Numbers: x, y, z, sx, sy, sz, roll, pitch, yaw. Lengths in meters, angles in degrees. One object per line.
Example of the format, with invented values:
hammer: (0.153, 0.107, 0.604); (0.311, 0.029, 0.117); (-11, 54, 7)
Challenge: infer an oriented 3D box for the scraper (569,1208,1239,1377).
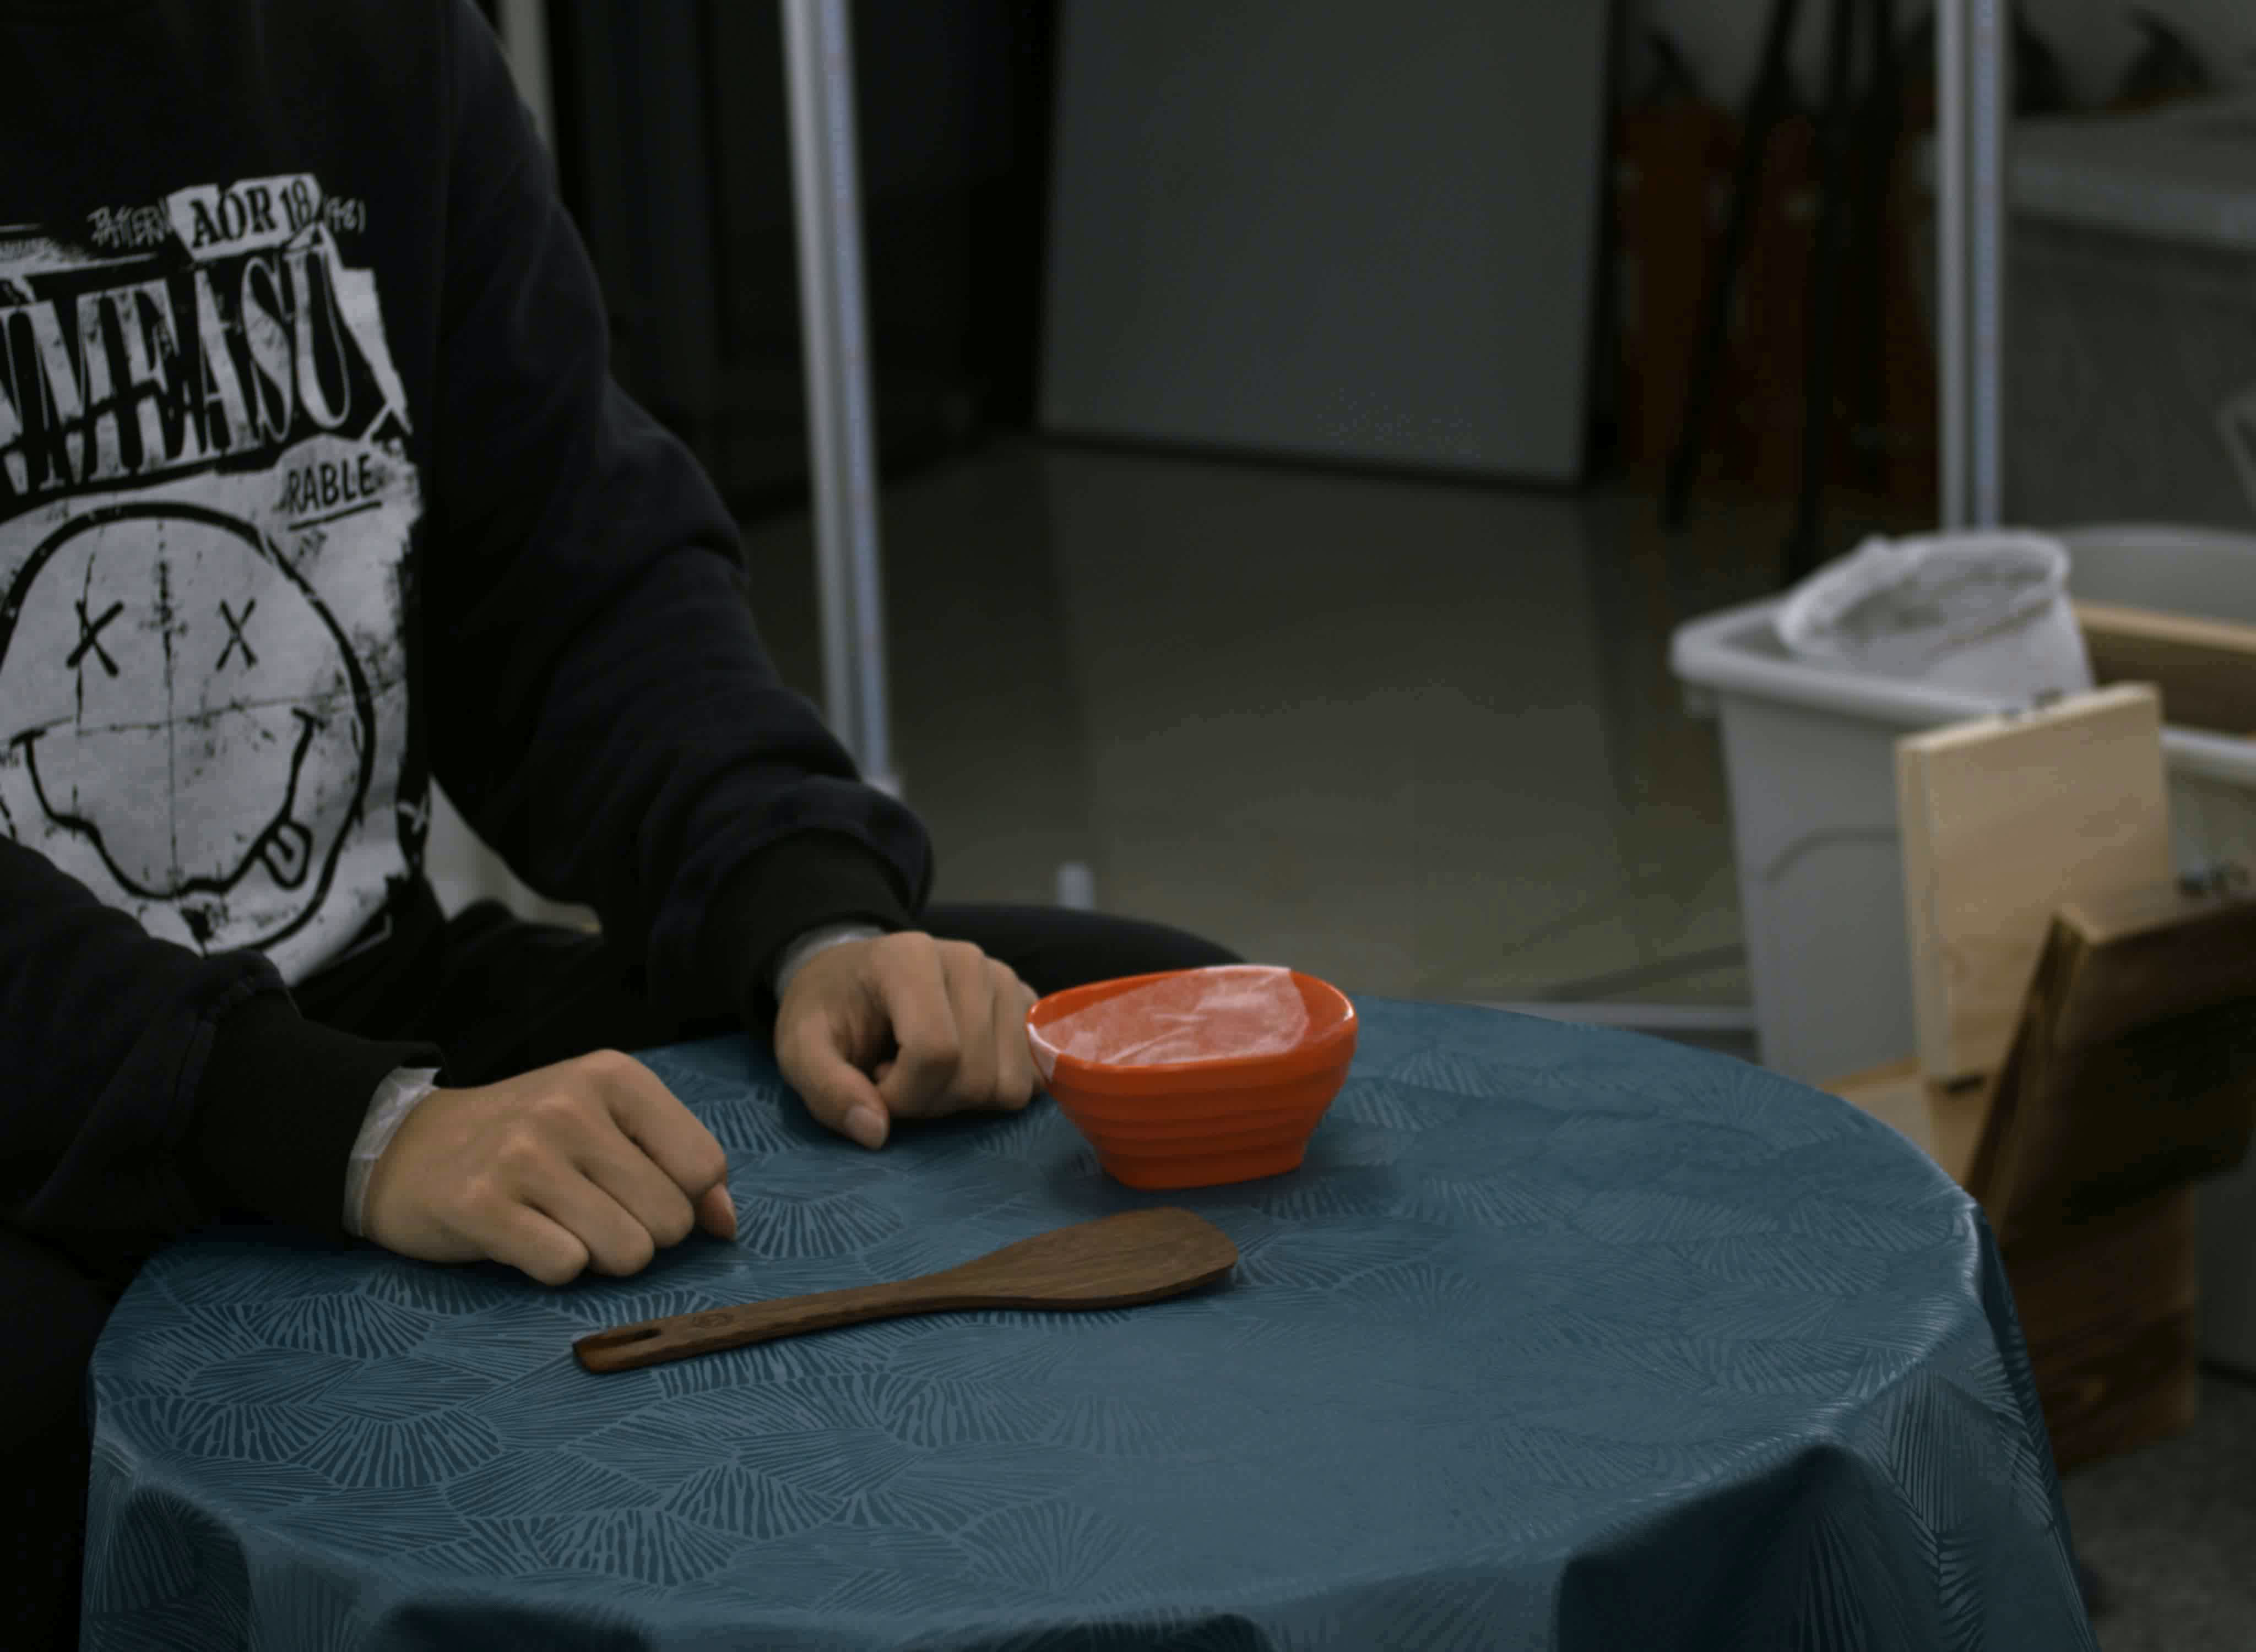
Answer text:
scraper: (-0.070, 0.147, 1.670); (0.207, 0.011, 0.076); (-9, 13, -16)

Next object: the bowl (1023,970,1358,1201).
bowl: (0.022, 0.089, 1.797); (0.117, 0.052, 0.119); (-4, 15, 0)
